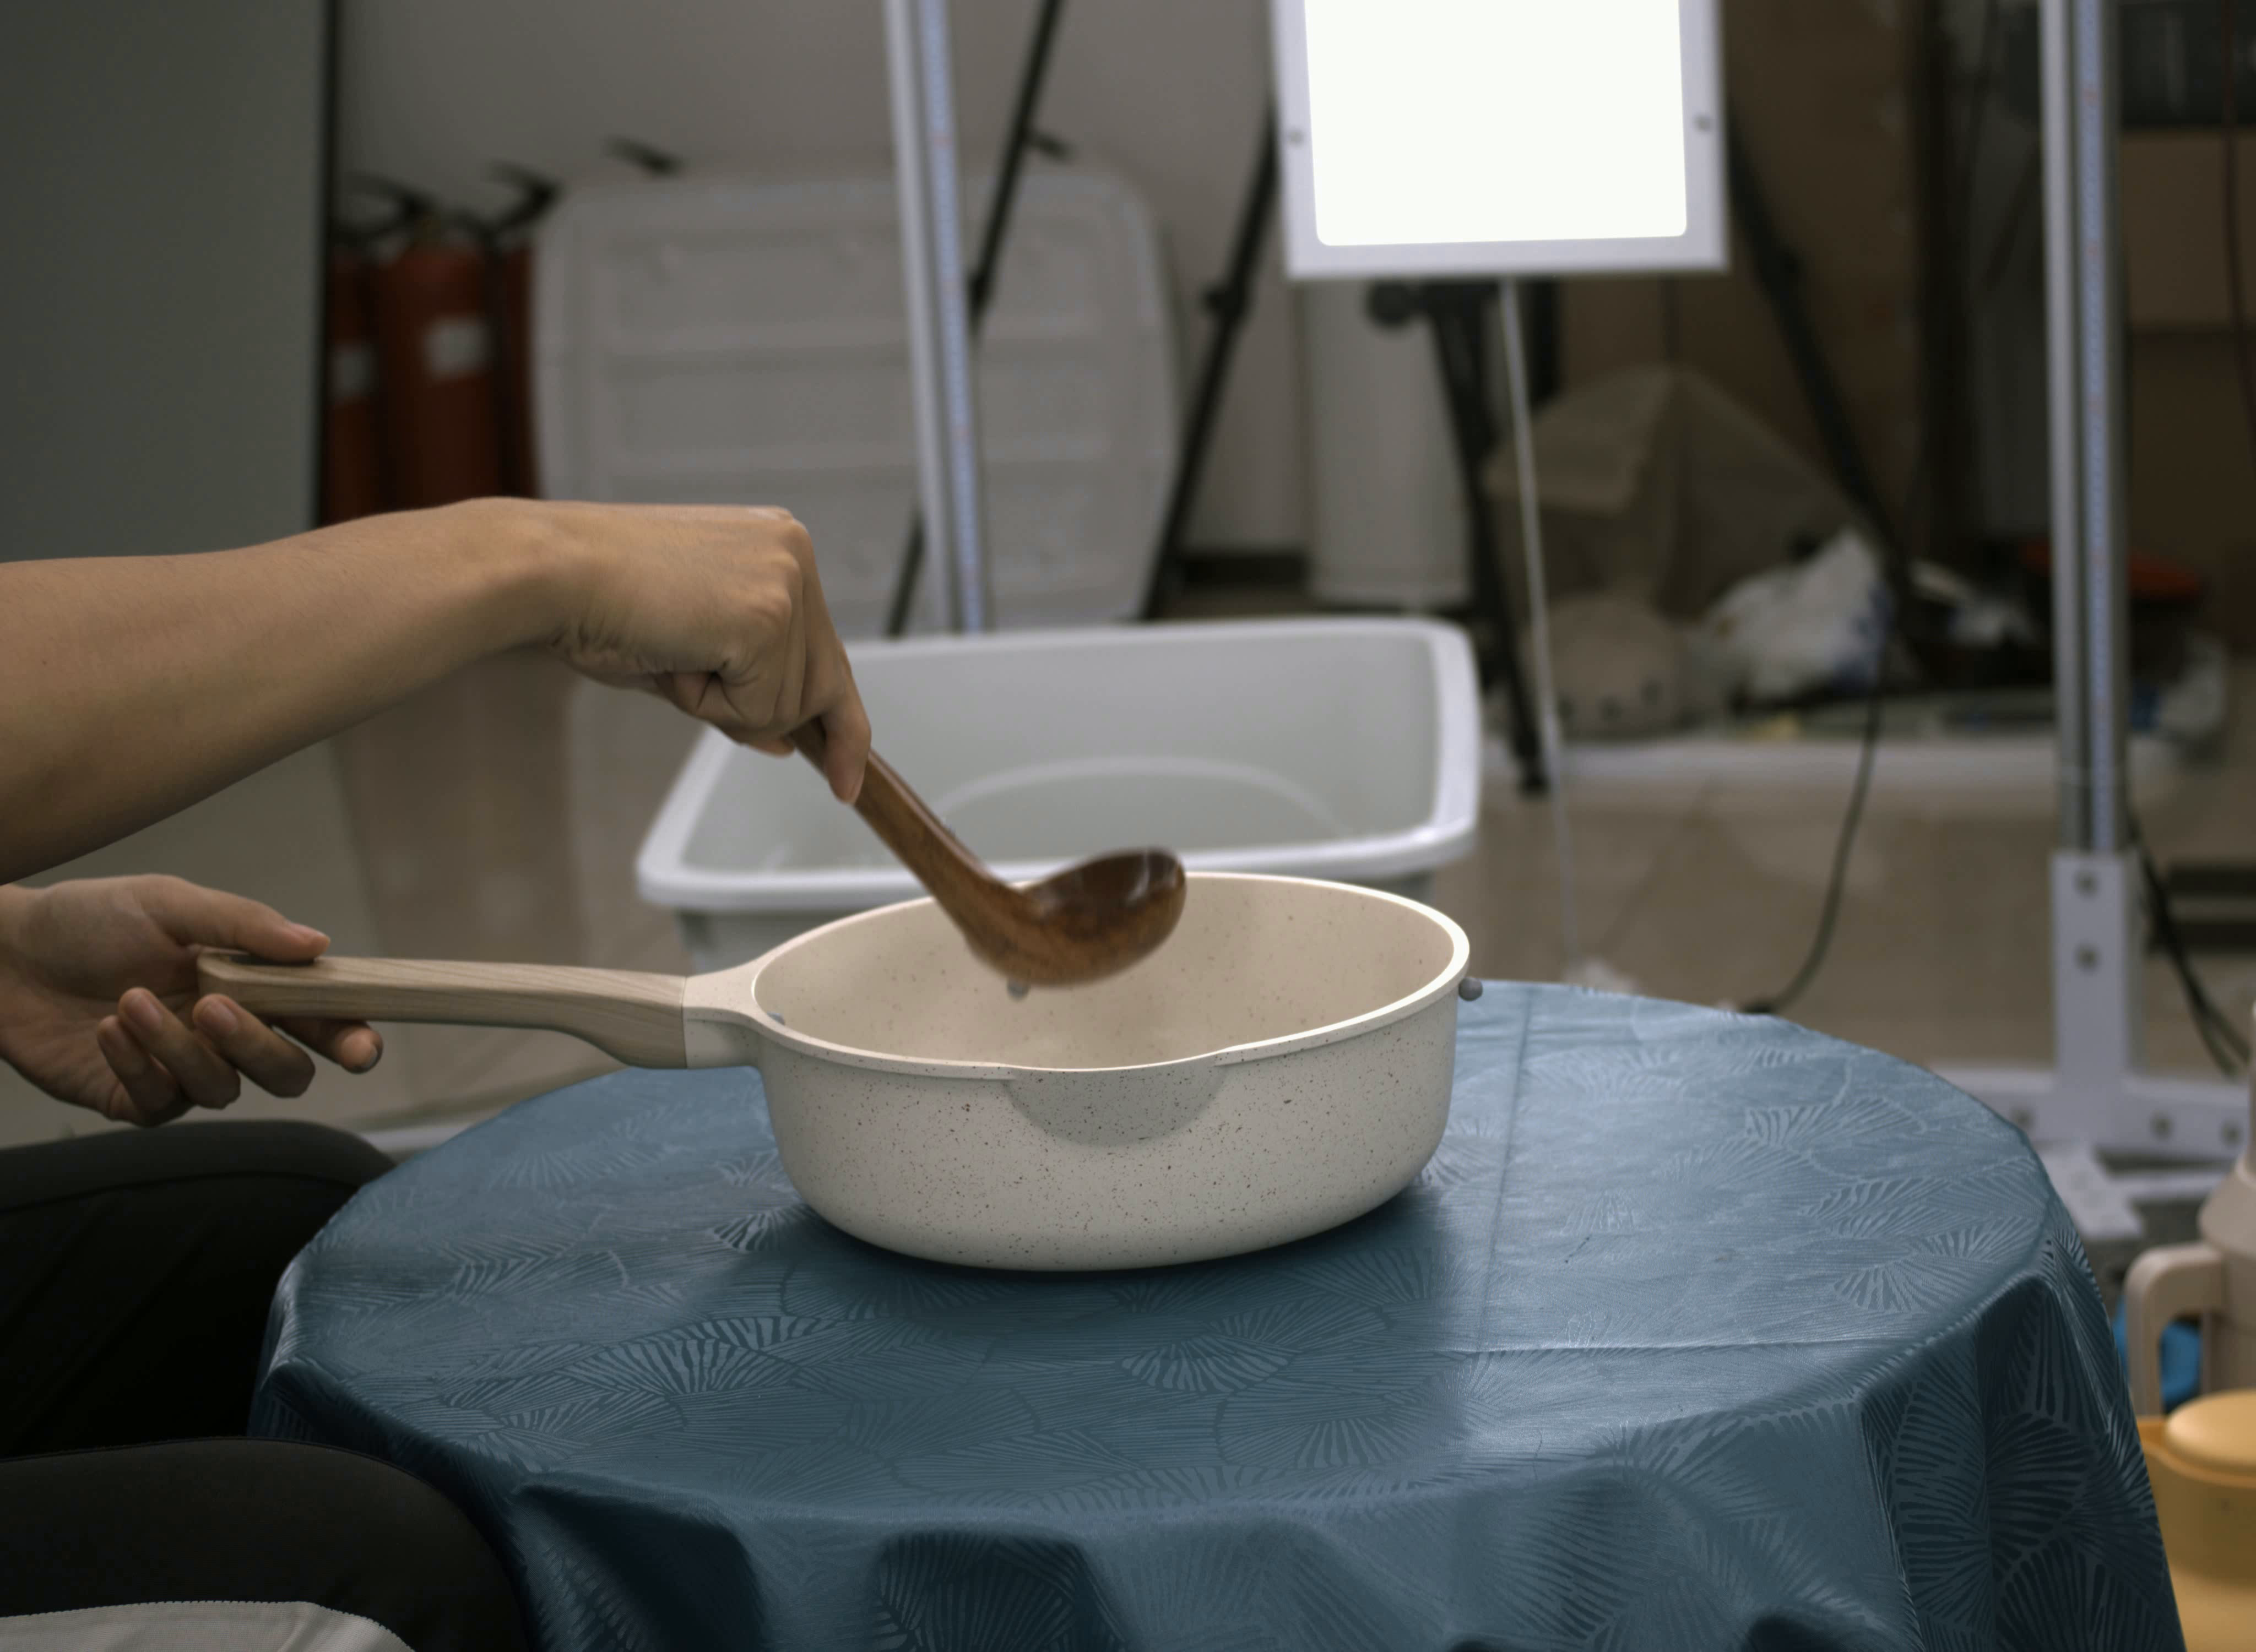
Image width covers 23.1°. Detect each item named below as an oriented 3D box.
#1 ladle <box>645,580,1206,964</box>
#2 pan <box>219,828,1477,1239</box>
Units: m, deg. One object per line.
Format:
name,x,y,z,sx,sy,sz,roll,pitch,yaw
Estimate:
ladle,-0.067,-0.032,1.869,0.083,0.270,0.076,-19,48,29
pan,-0.093,0.074,1.913,0.434,0.102,0.263,-5,15,1
